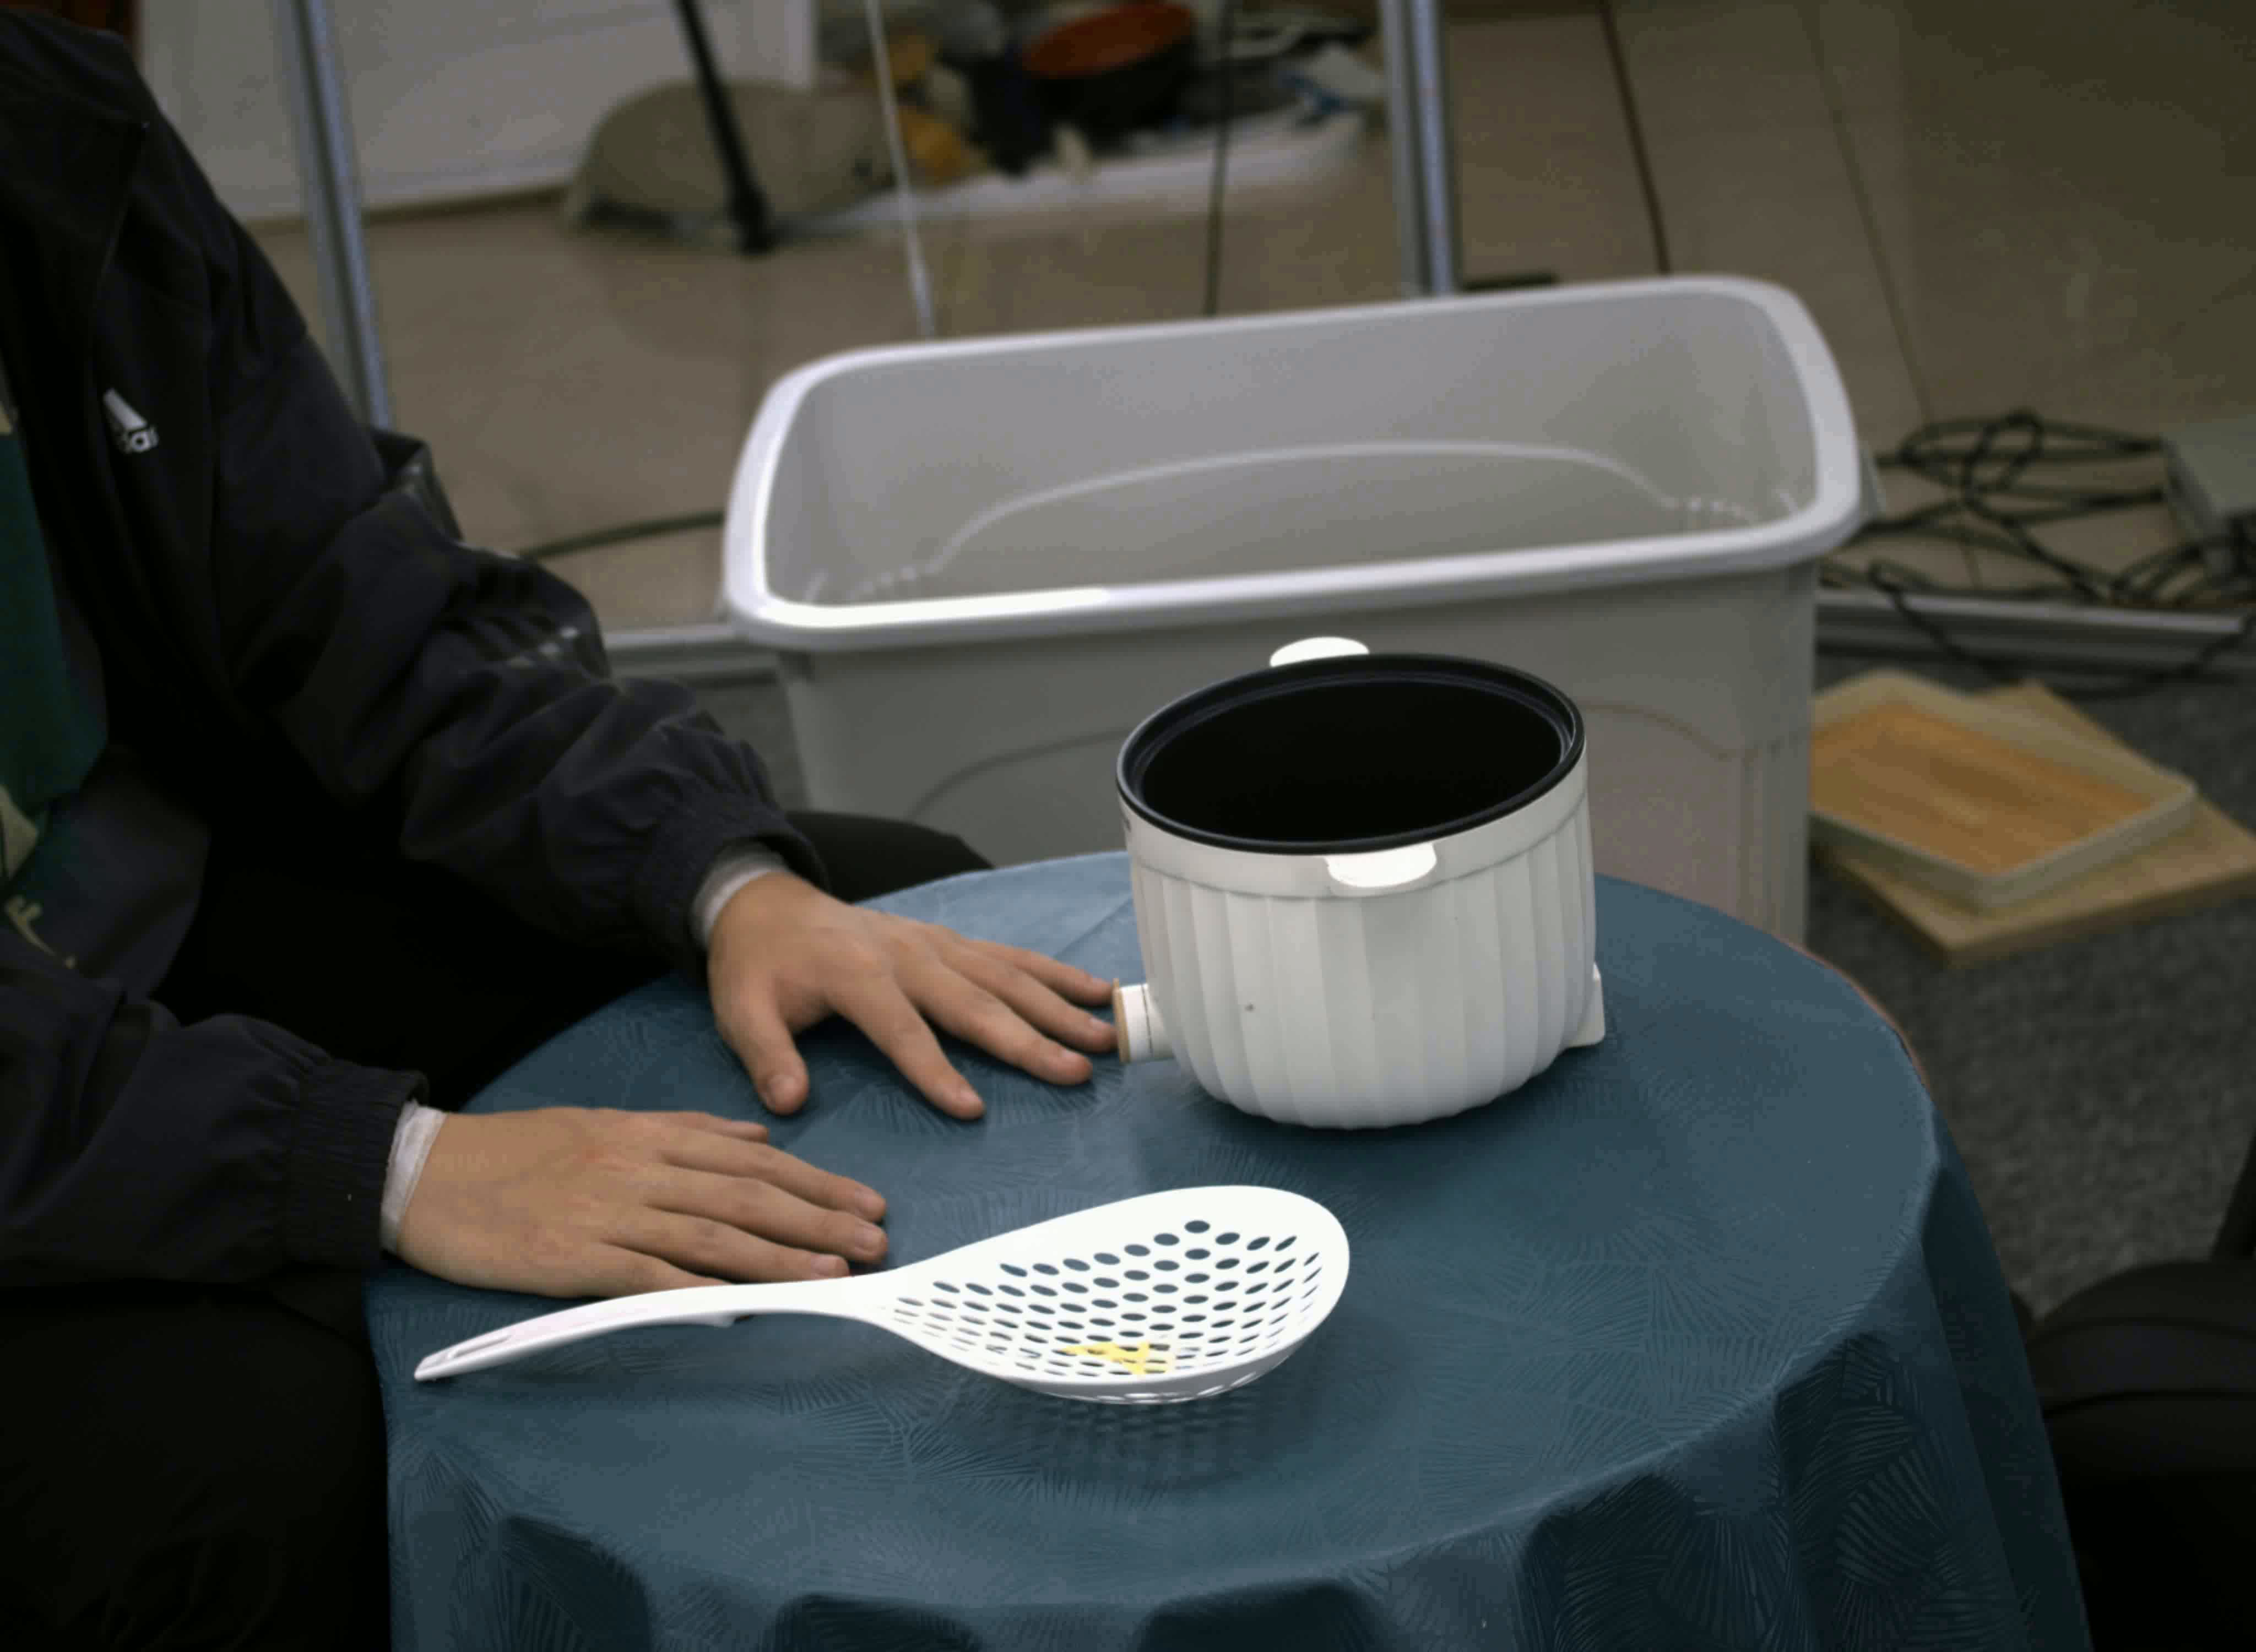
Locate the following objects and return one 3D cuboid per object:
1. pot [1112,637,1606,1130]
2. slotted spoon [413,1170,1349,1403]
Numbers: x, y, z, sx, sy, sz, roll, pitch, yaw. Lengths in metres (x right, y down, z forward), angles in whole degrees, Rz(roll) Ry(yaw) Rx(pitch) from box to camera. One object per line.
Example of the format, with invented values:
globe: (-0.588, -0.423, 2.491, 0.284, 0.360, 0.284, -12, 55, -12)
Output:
pot: (0.087, 0.030, 2.192, 0.190, 0.145, 0.237, -5, 23, -4)
slotted spoon: (-0.091, 0.178, 2.035, 0.347, 0.051, 0.135, -1, 27, 11)
